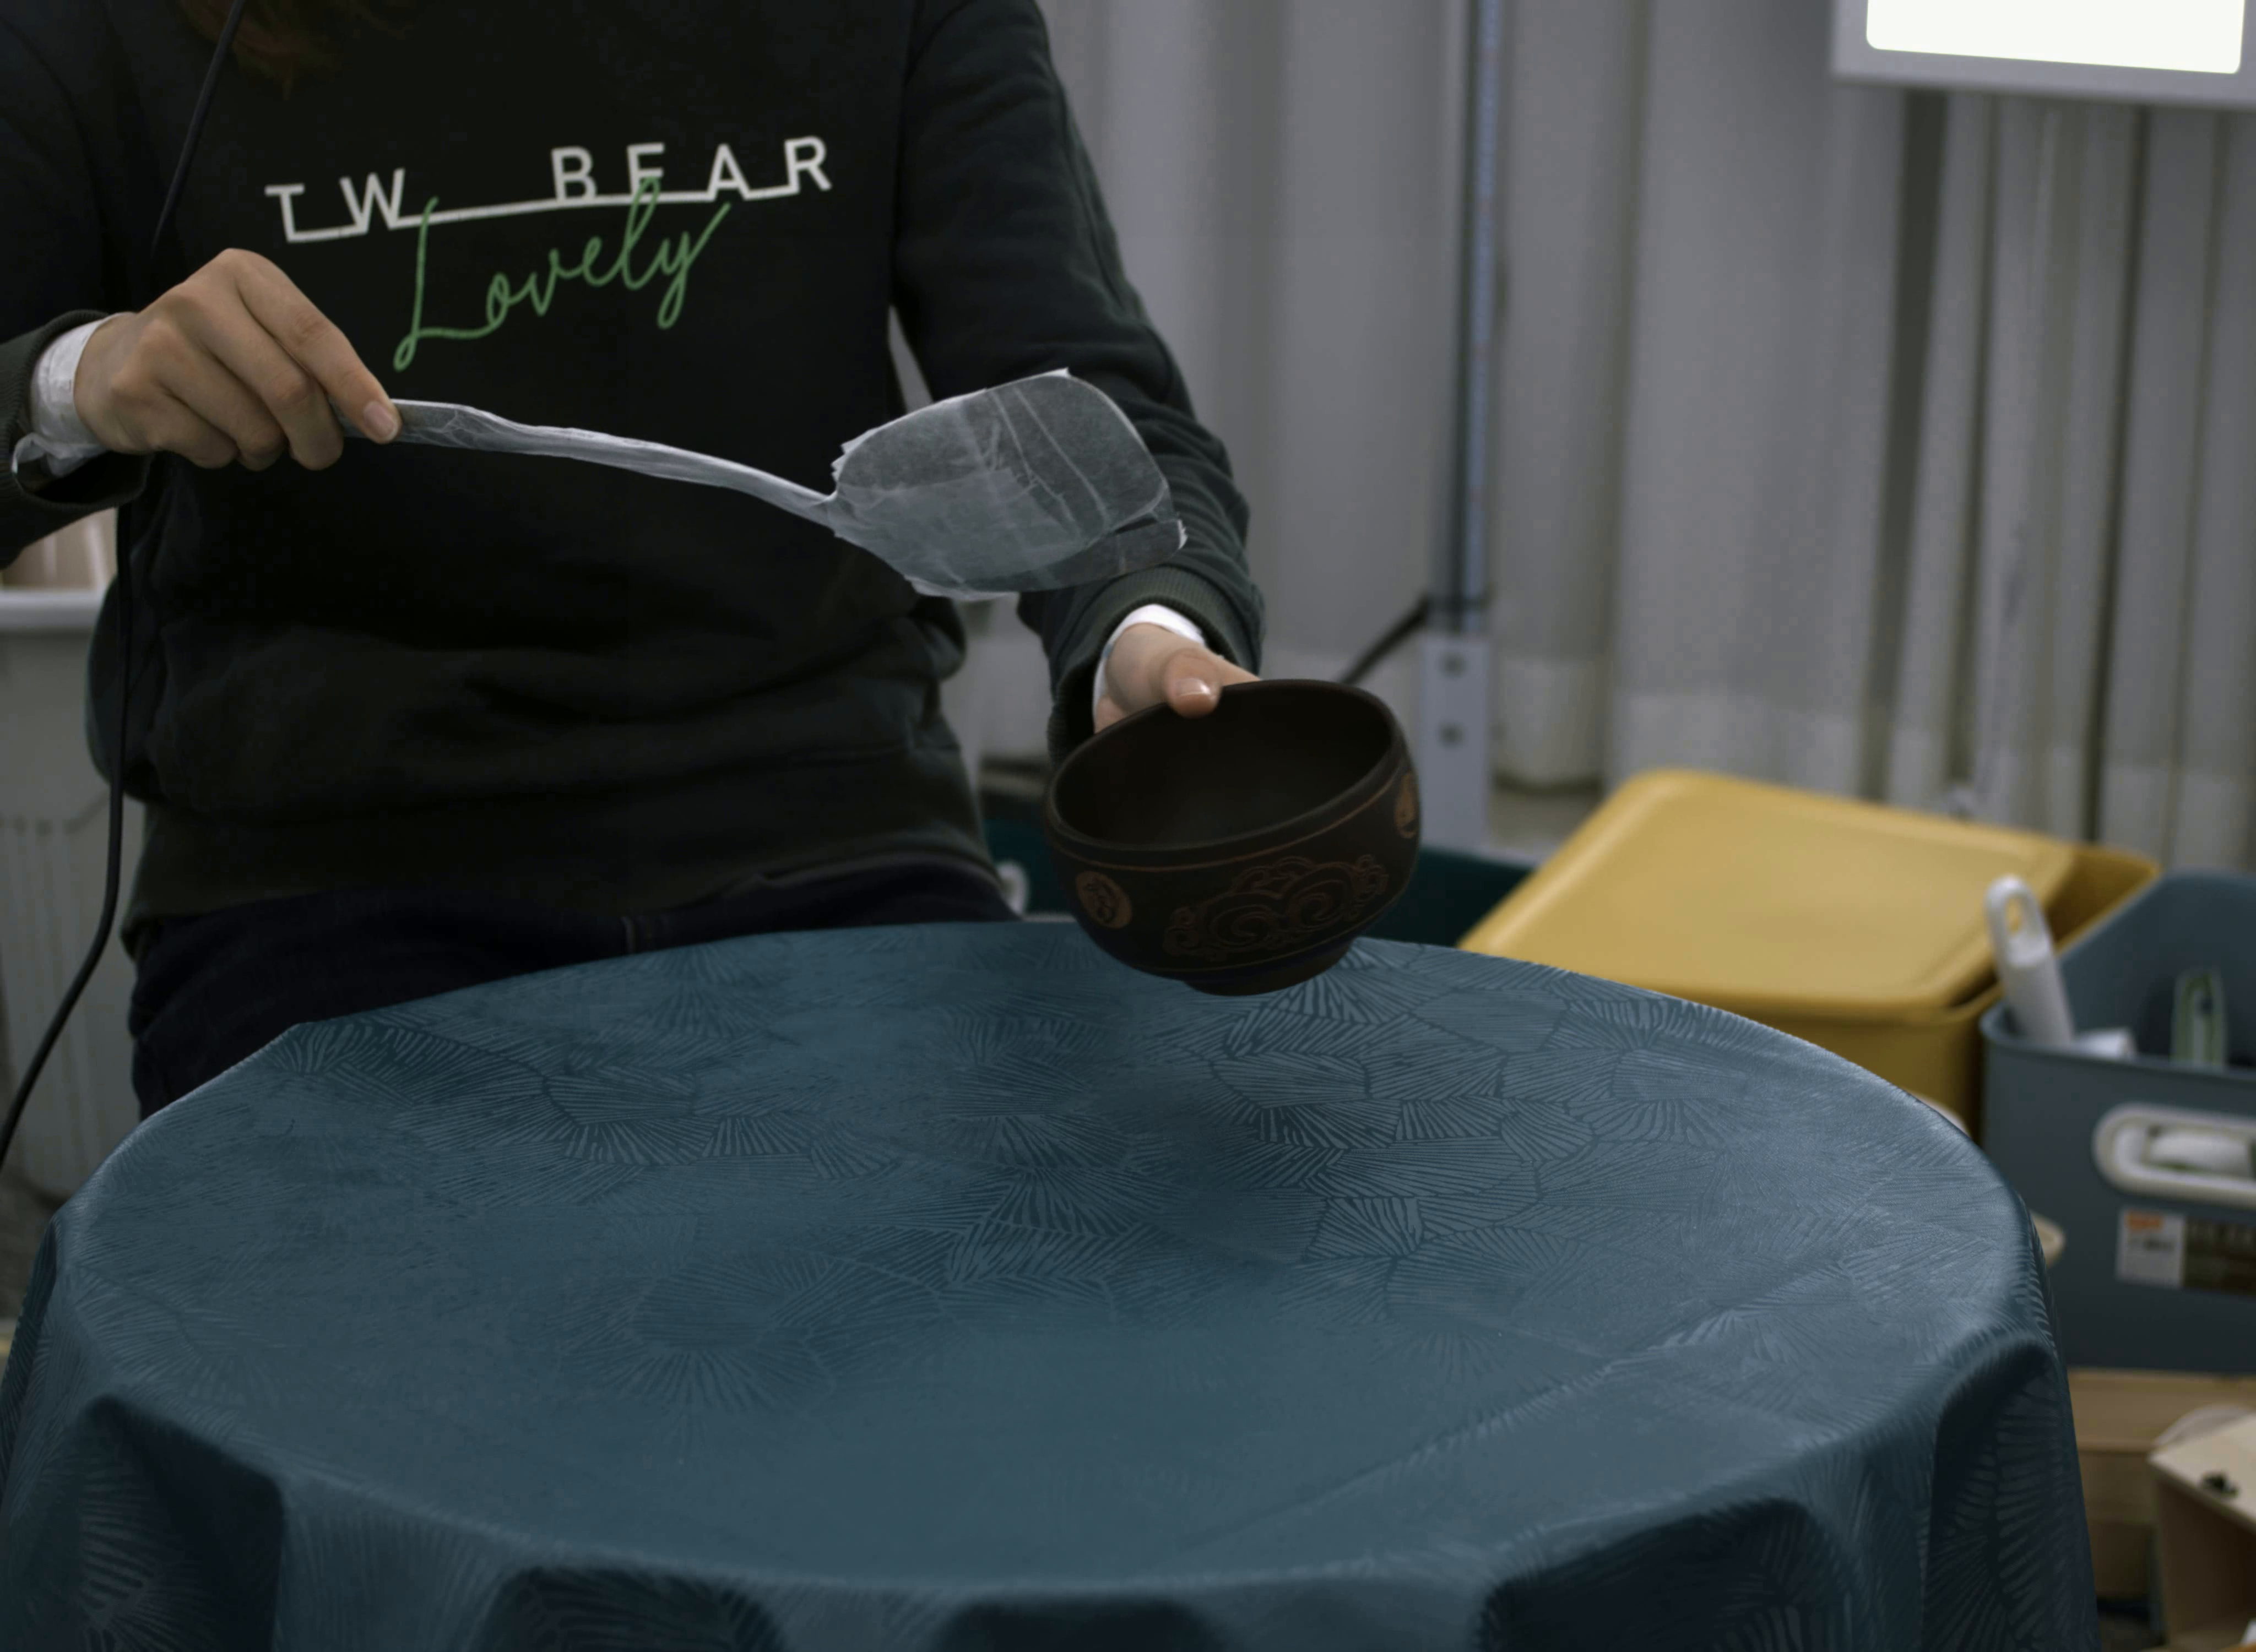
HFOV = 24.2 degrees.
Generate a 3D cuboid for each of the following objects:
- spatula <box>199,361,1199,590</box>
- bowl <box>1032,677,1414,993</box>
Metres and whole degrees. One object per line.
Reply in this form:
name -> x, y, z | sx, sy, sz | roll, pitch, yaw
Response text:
spatula -> -0.149, -0.119, 1.664 | 0.360, 0.100, 0.044 | 9, 62, 29
bowl -> 0.033, 0.009, 1.649 | 0.117, 0.070, 0.117 | -10, 25, 5
